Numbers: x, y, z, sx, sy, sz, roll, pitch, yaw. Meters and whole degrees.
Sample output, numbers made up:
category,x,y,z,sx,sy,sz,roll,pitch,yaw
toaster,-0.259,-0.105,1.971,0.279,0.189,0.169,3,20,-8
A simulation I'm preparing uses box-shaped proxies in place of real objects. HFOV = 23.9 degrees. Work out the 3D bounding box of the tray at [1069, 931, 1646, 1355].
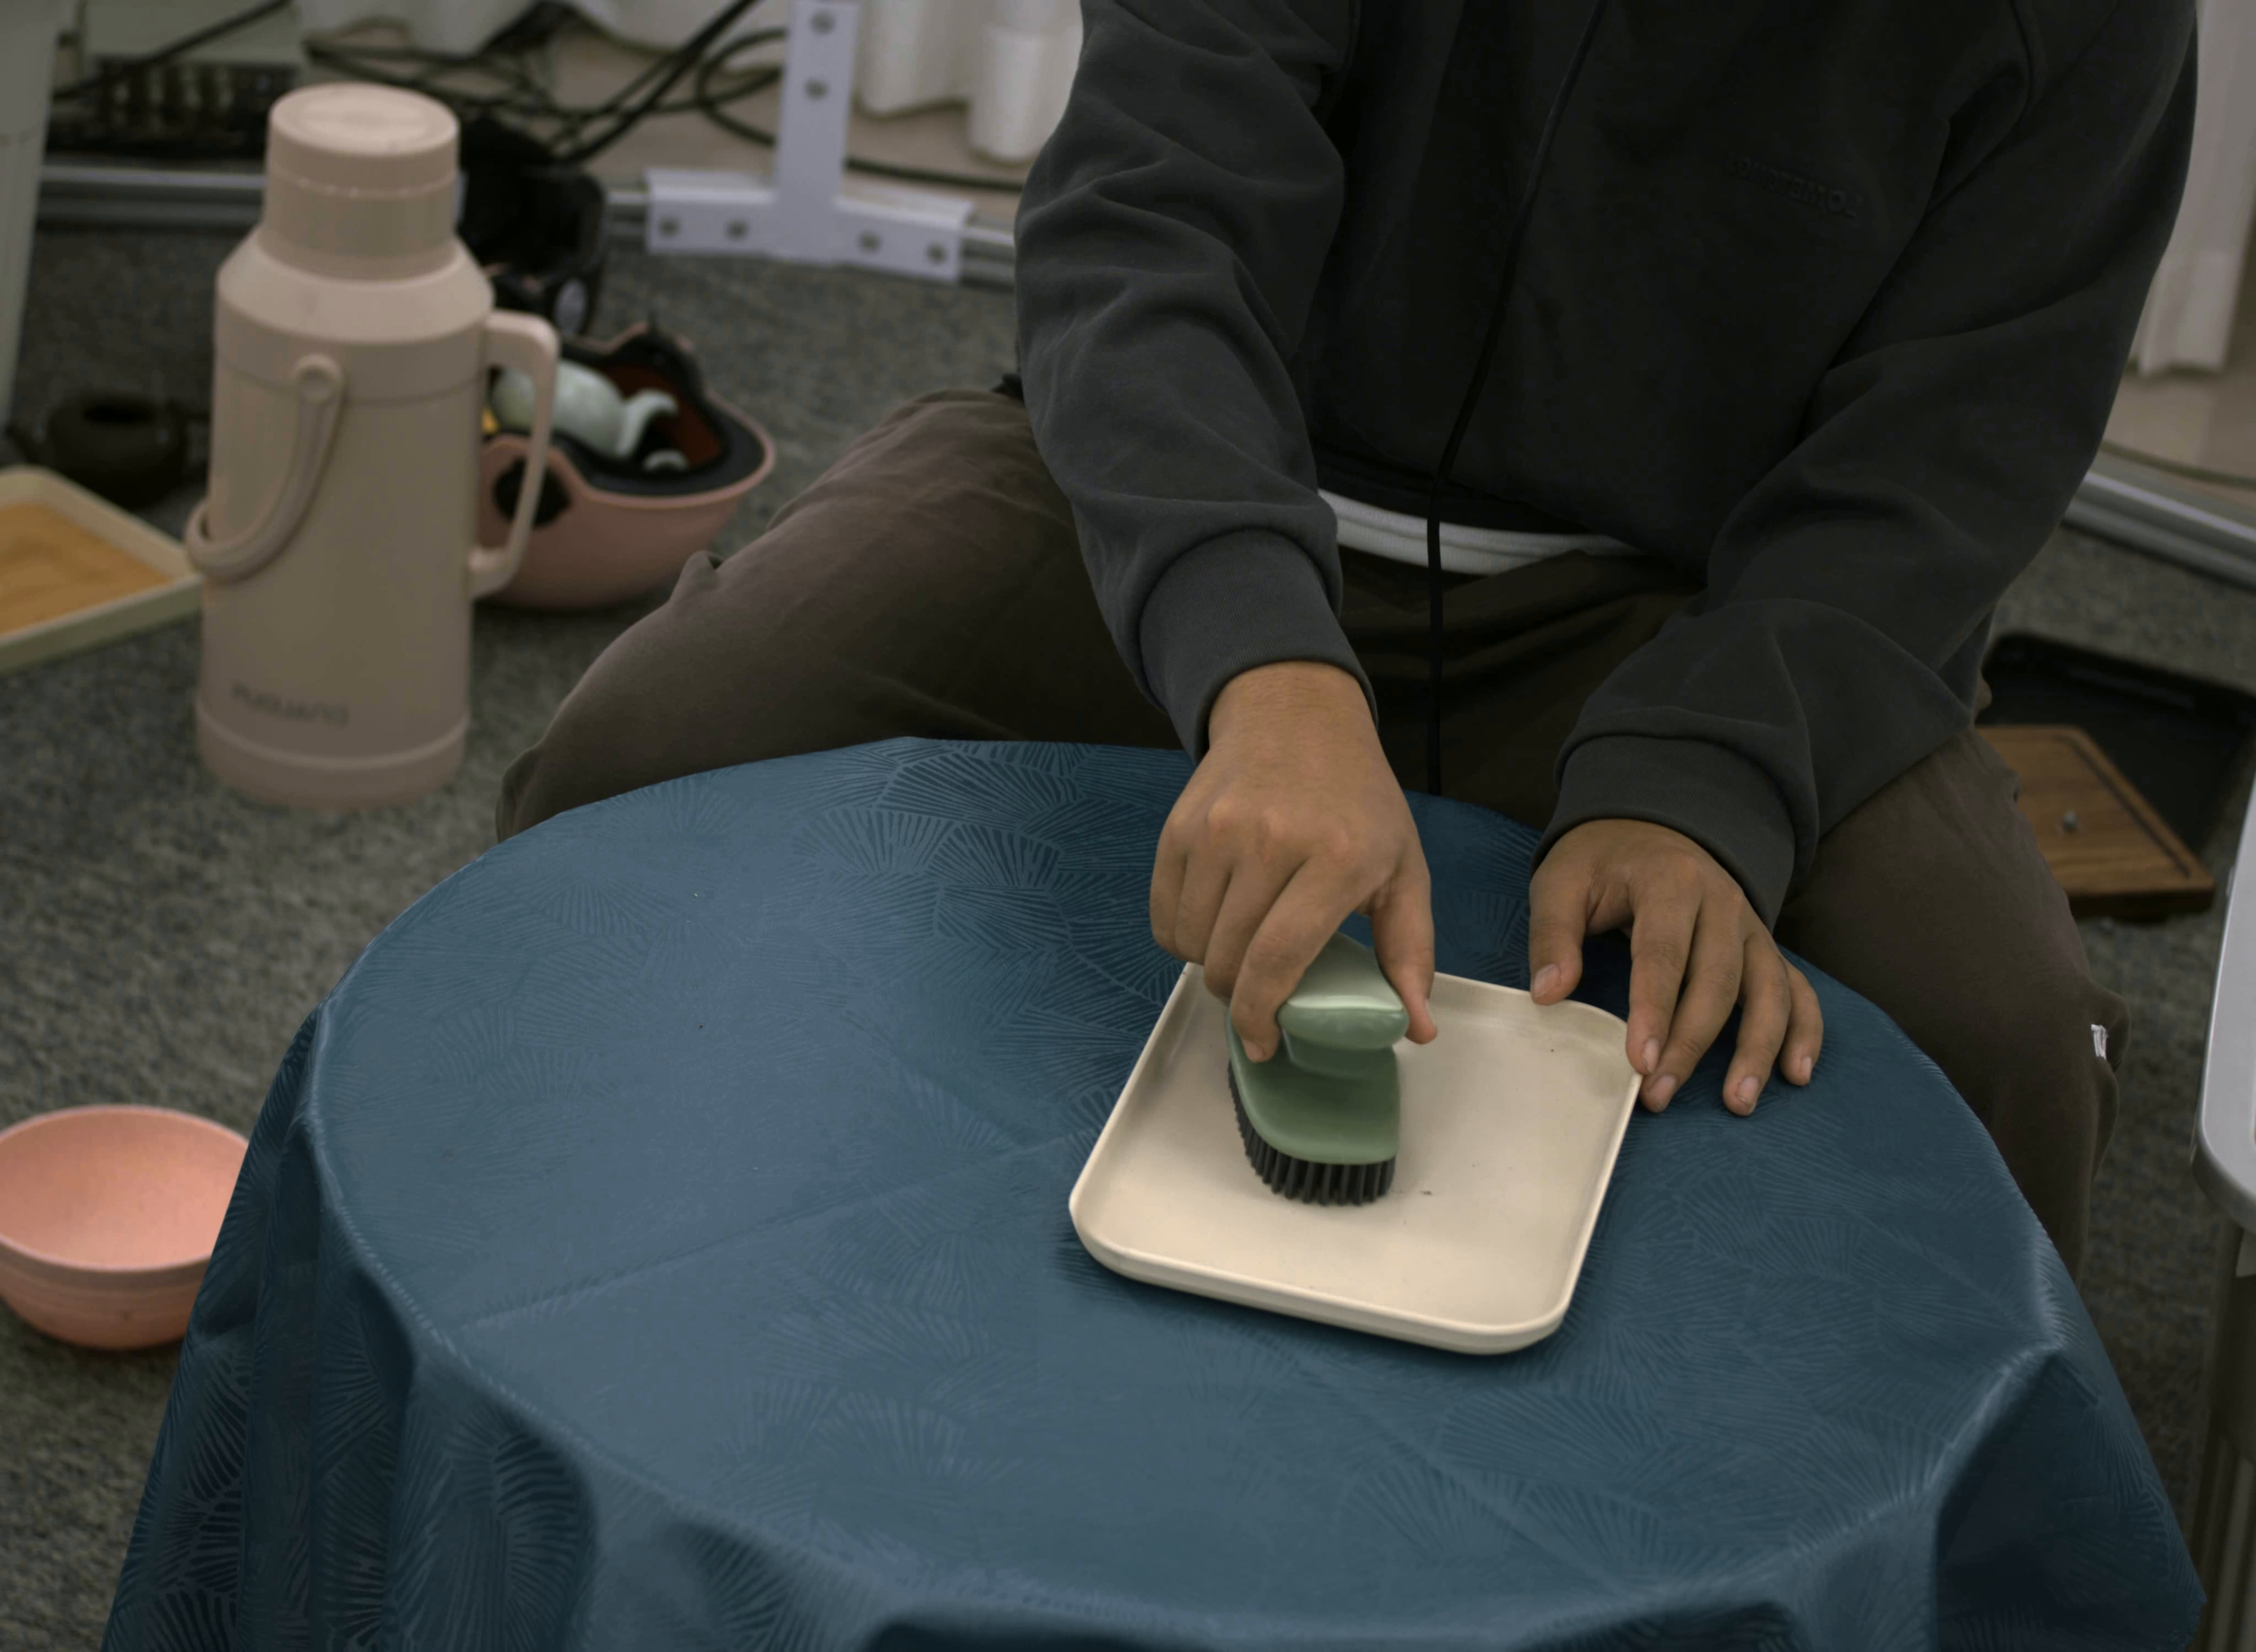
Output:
category,x,y,z,sx,sy,sz,roll,pitch,yaw
tray,0.082,0.108,1.836,0.171,0.017,0.240,12,27,10

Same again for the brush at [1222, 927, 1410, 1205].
category,x,y,z,sx,sy,sz,roll,pitch,yaw
brush,0.066,0.081,1.841,0.059,0.076,0.123,4,13,-9
